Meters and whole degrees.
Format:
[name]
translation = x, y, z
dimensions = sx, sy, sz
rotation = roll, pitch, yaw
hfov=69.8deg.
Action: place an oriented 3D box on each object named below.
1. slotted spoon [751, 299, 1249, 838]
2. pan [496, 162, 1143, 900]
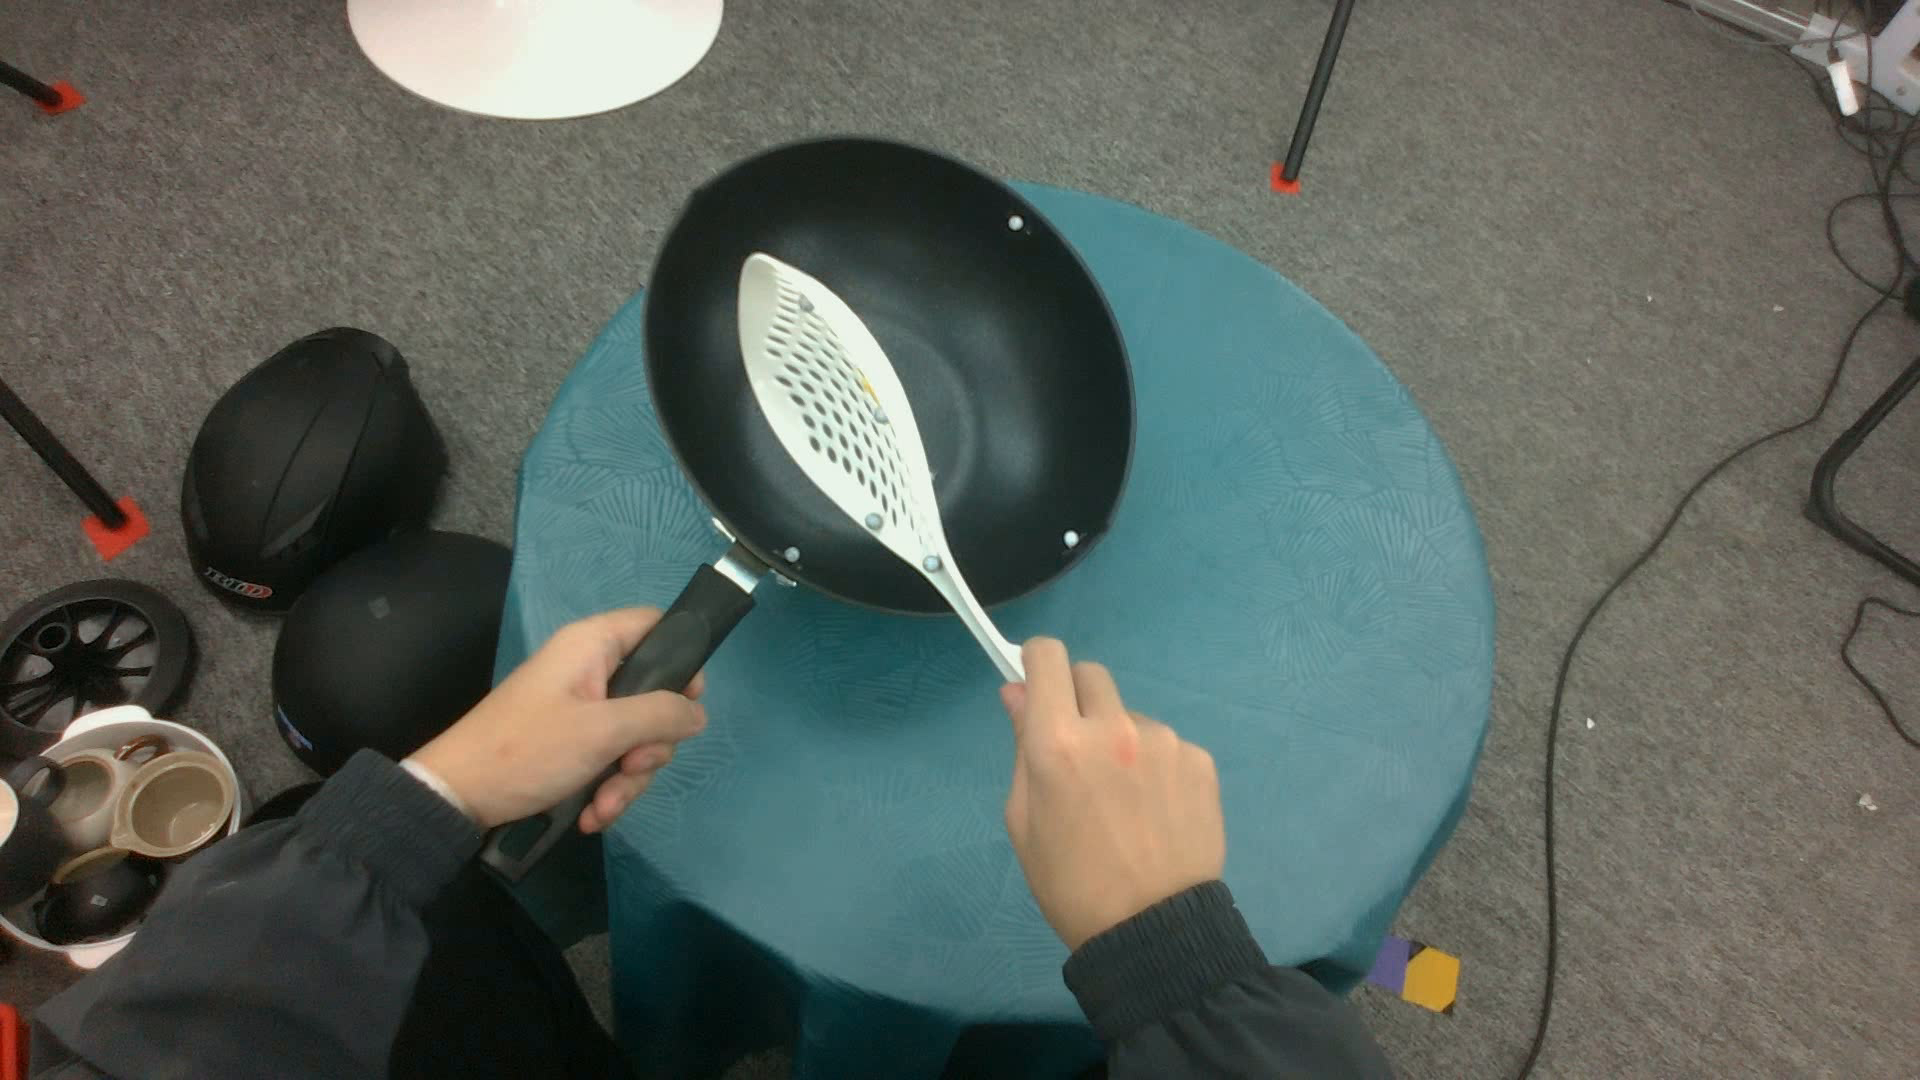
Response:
[slotted spoon]
translation = 0.009, 0.016, 0.672
dimensions = 0.050, 0.136, 0.348
rotation = -27, 68, -26
[pan]
translation = -0.086, -0.003, 0.745
dimensions = 0.288, 0.086, 0.465
rotation = 36, 64, -5
